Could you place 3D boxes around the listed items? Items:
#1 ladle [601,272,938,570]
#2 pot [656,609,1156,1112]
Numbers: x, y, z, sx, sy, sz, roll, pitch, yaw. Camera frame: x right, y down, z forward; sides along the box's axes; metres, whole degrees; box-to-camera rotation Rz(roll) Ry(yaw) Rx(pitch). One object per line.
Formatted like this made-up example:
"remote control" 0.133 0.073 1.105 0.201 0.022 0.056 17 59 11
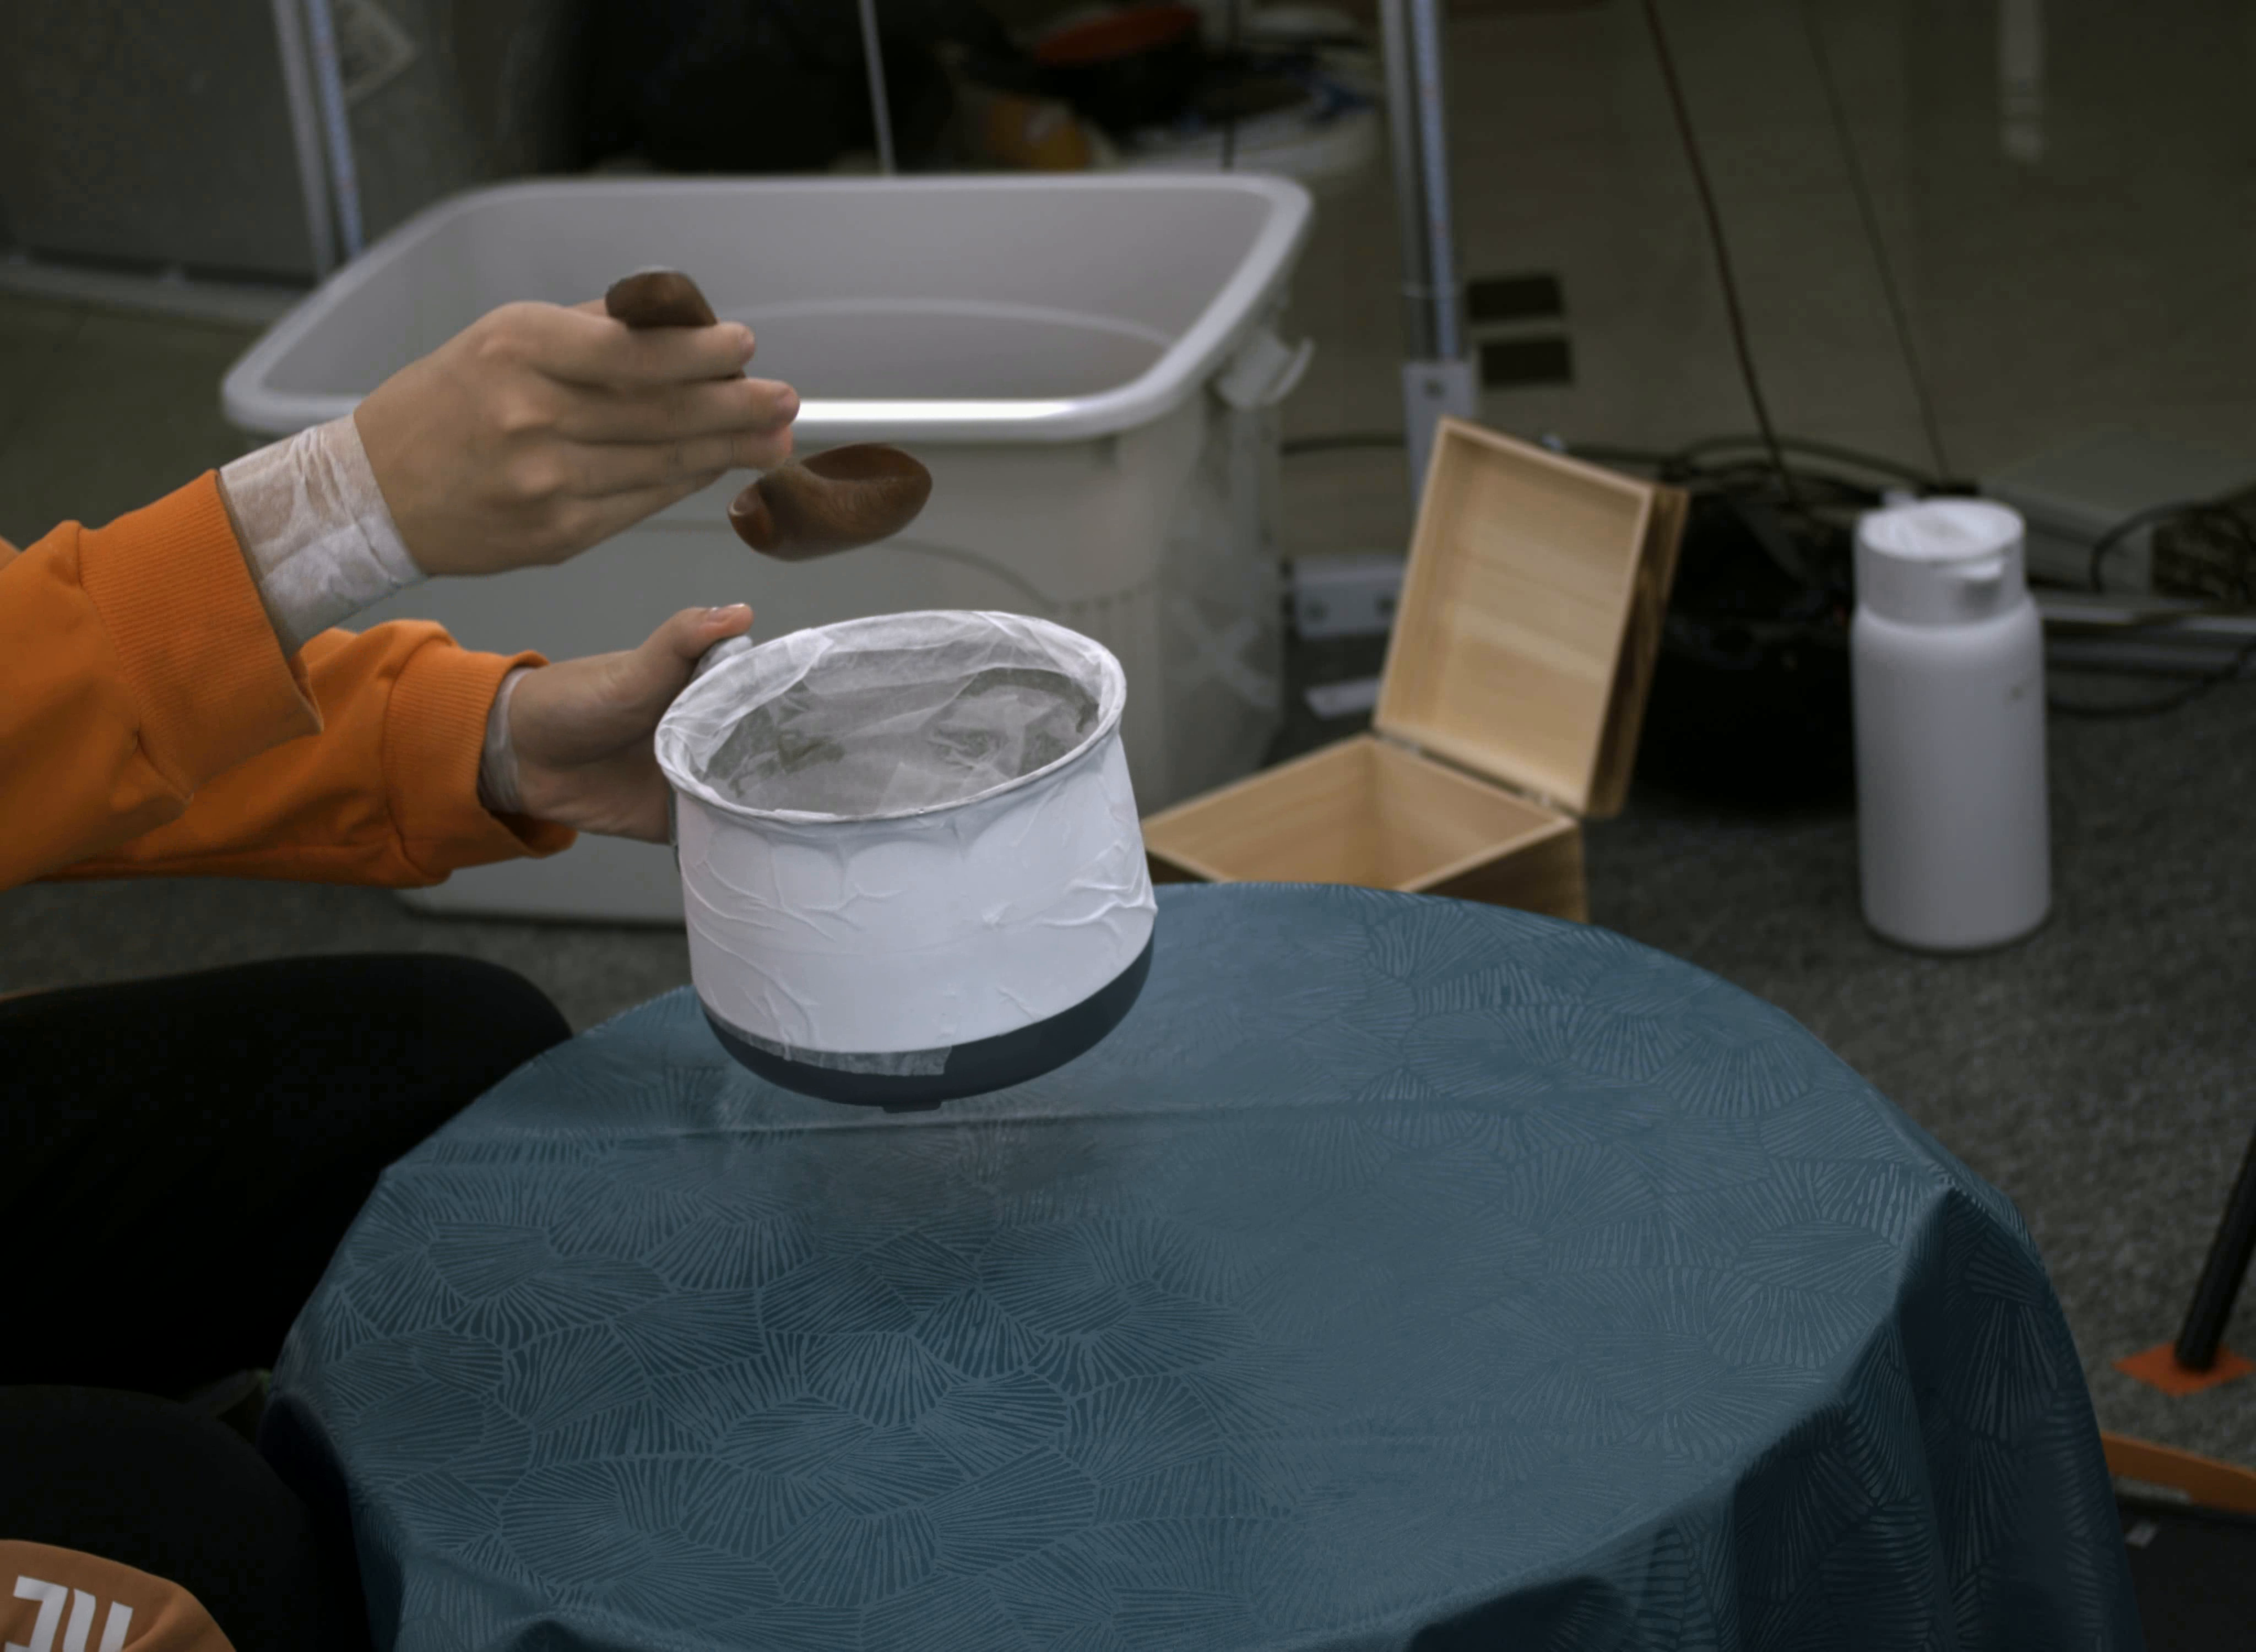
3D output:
"ladle" -0.130 -0.148 1.905 0.076 0.263 0.064 -19 66 9
"pot" -0.099 0.006 2.144 0.177 0.139 0.231 -27 33 -34
